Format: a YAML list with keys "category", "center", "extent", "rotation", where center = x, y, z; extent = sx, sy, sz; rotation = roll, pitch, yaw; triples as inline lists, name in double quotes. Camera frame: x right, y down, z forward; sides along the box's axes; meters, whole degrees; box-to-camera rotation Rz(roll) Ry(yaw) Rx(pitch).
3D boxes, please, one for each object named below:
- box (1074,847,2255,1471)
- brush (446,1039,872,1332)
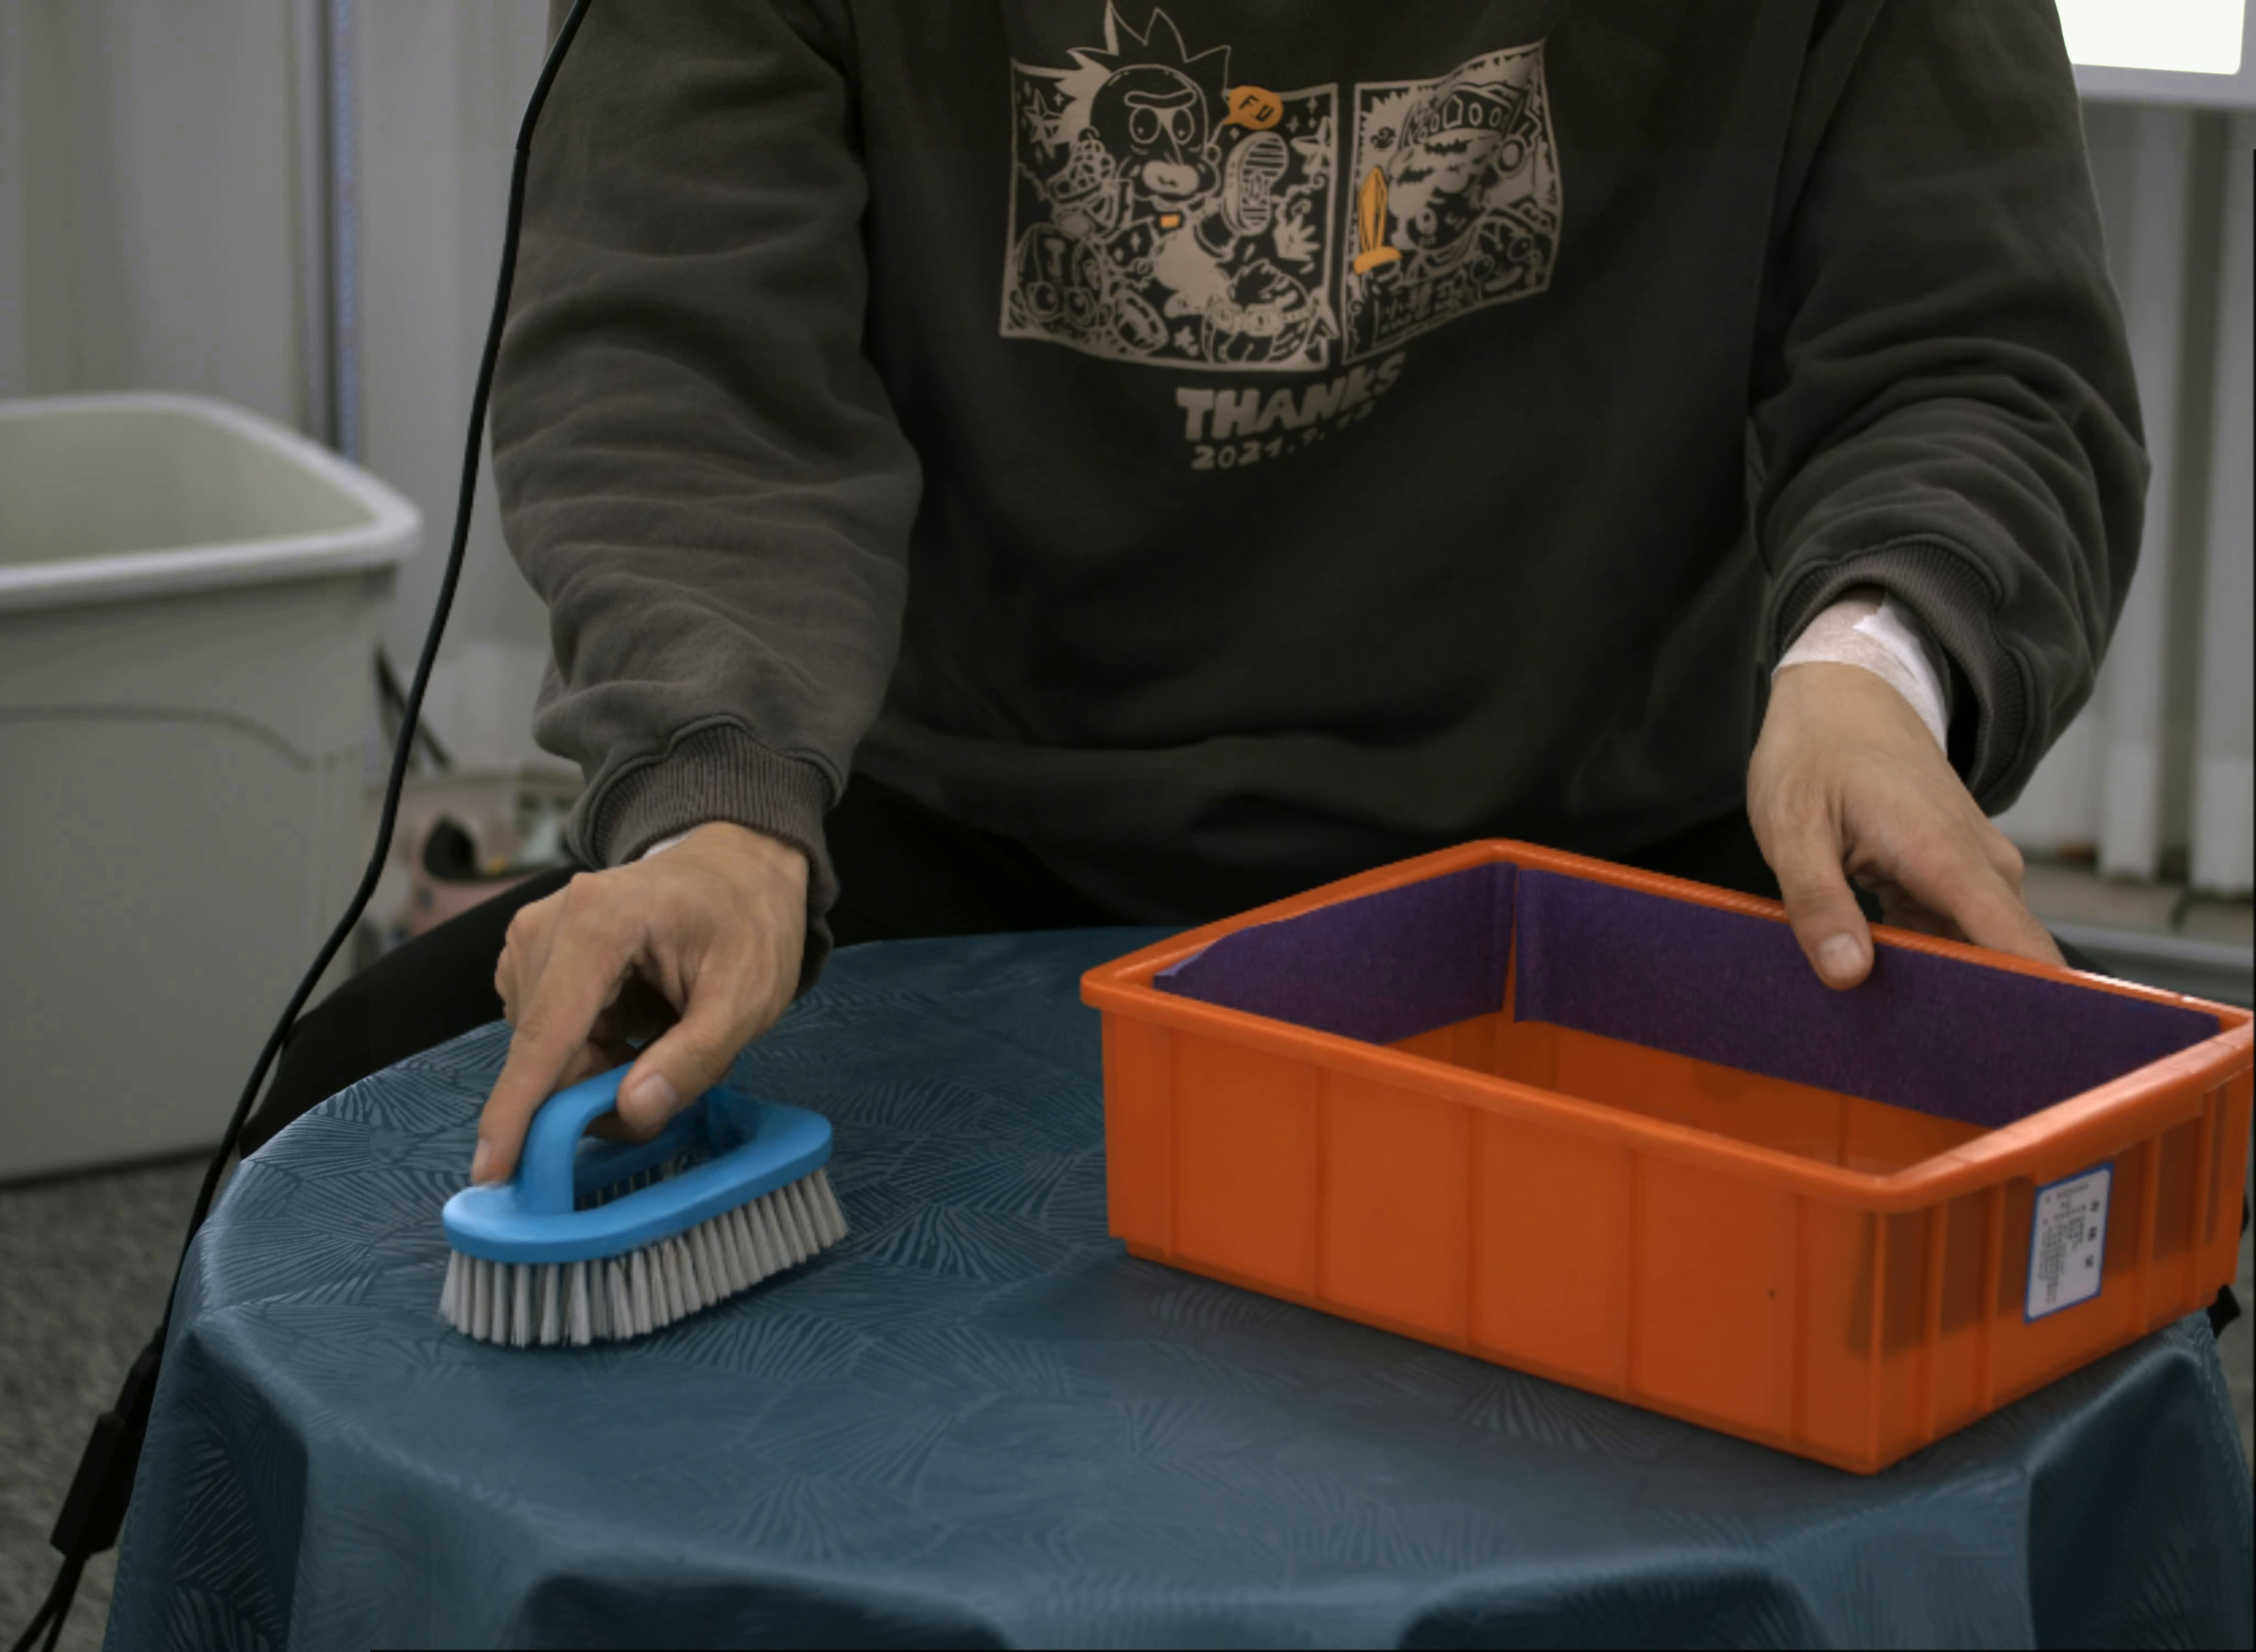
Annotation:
- category: "box"
  center: [0.156, 0.092, 1.549]
  extent: [0.299, 0.097, 0.207]
  rotation: [14, 21, 39]
- category: "brush"
  center: [-0.141, 0.100, 1.541]
  extent: [0.083, 0.064, 0.142]
  rotation: [4, 15, 39]
